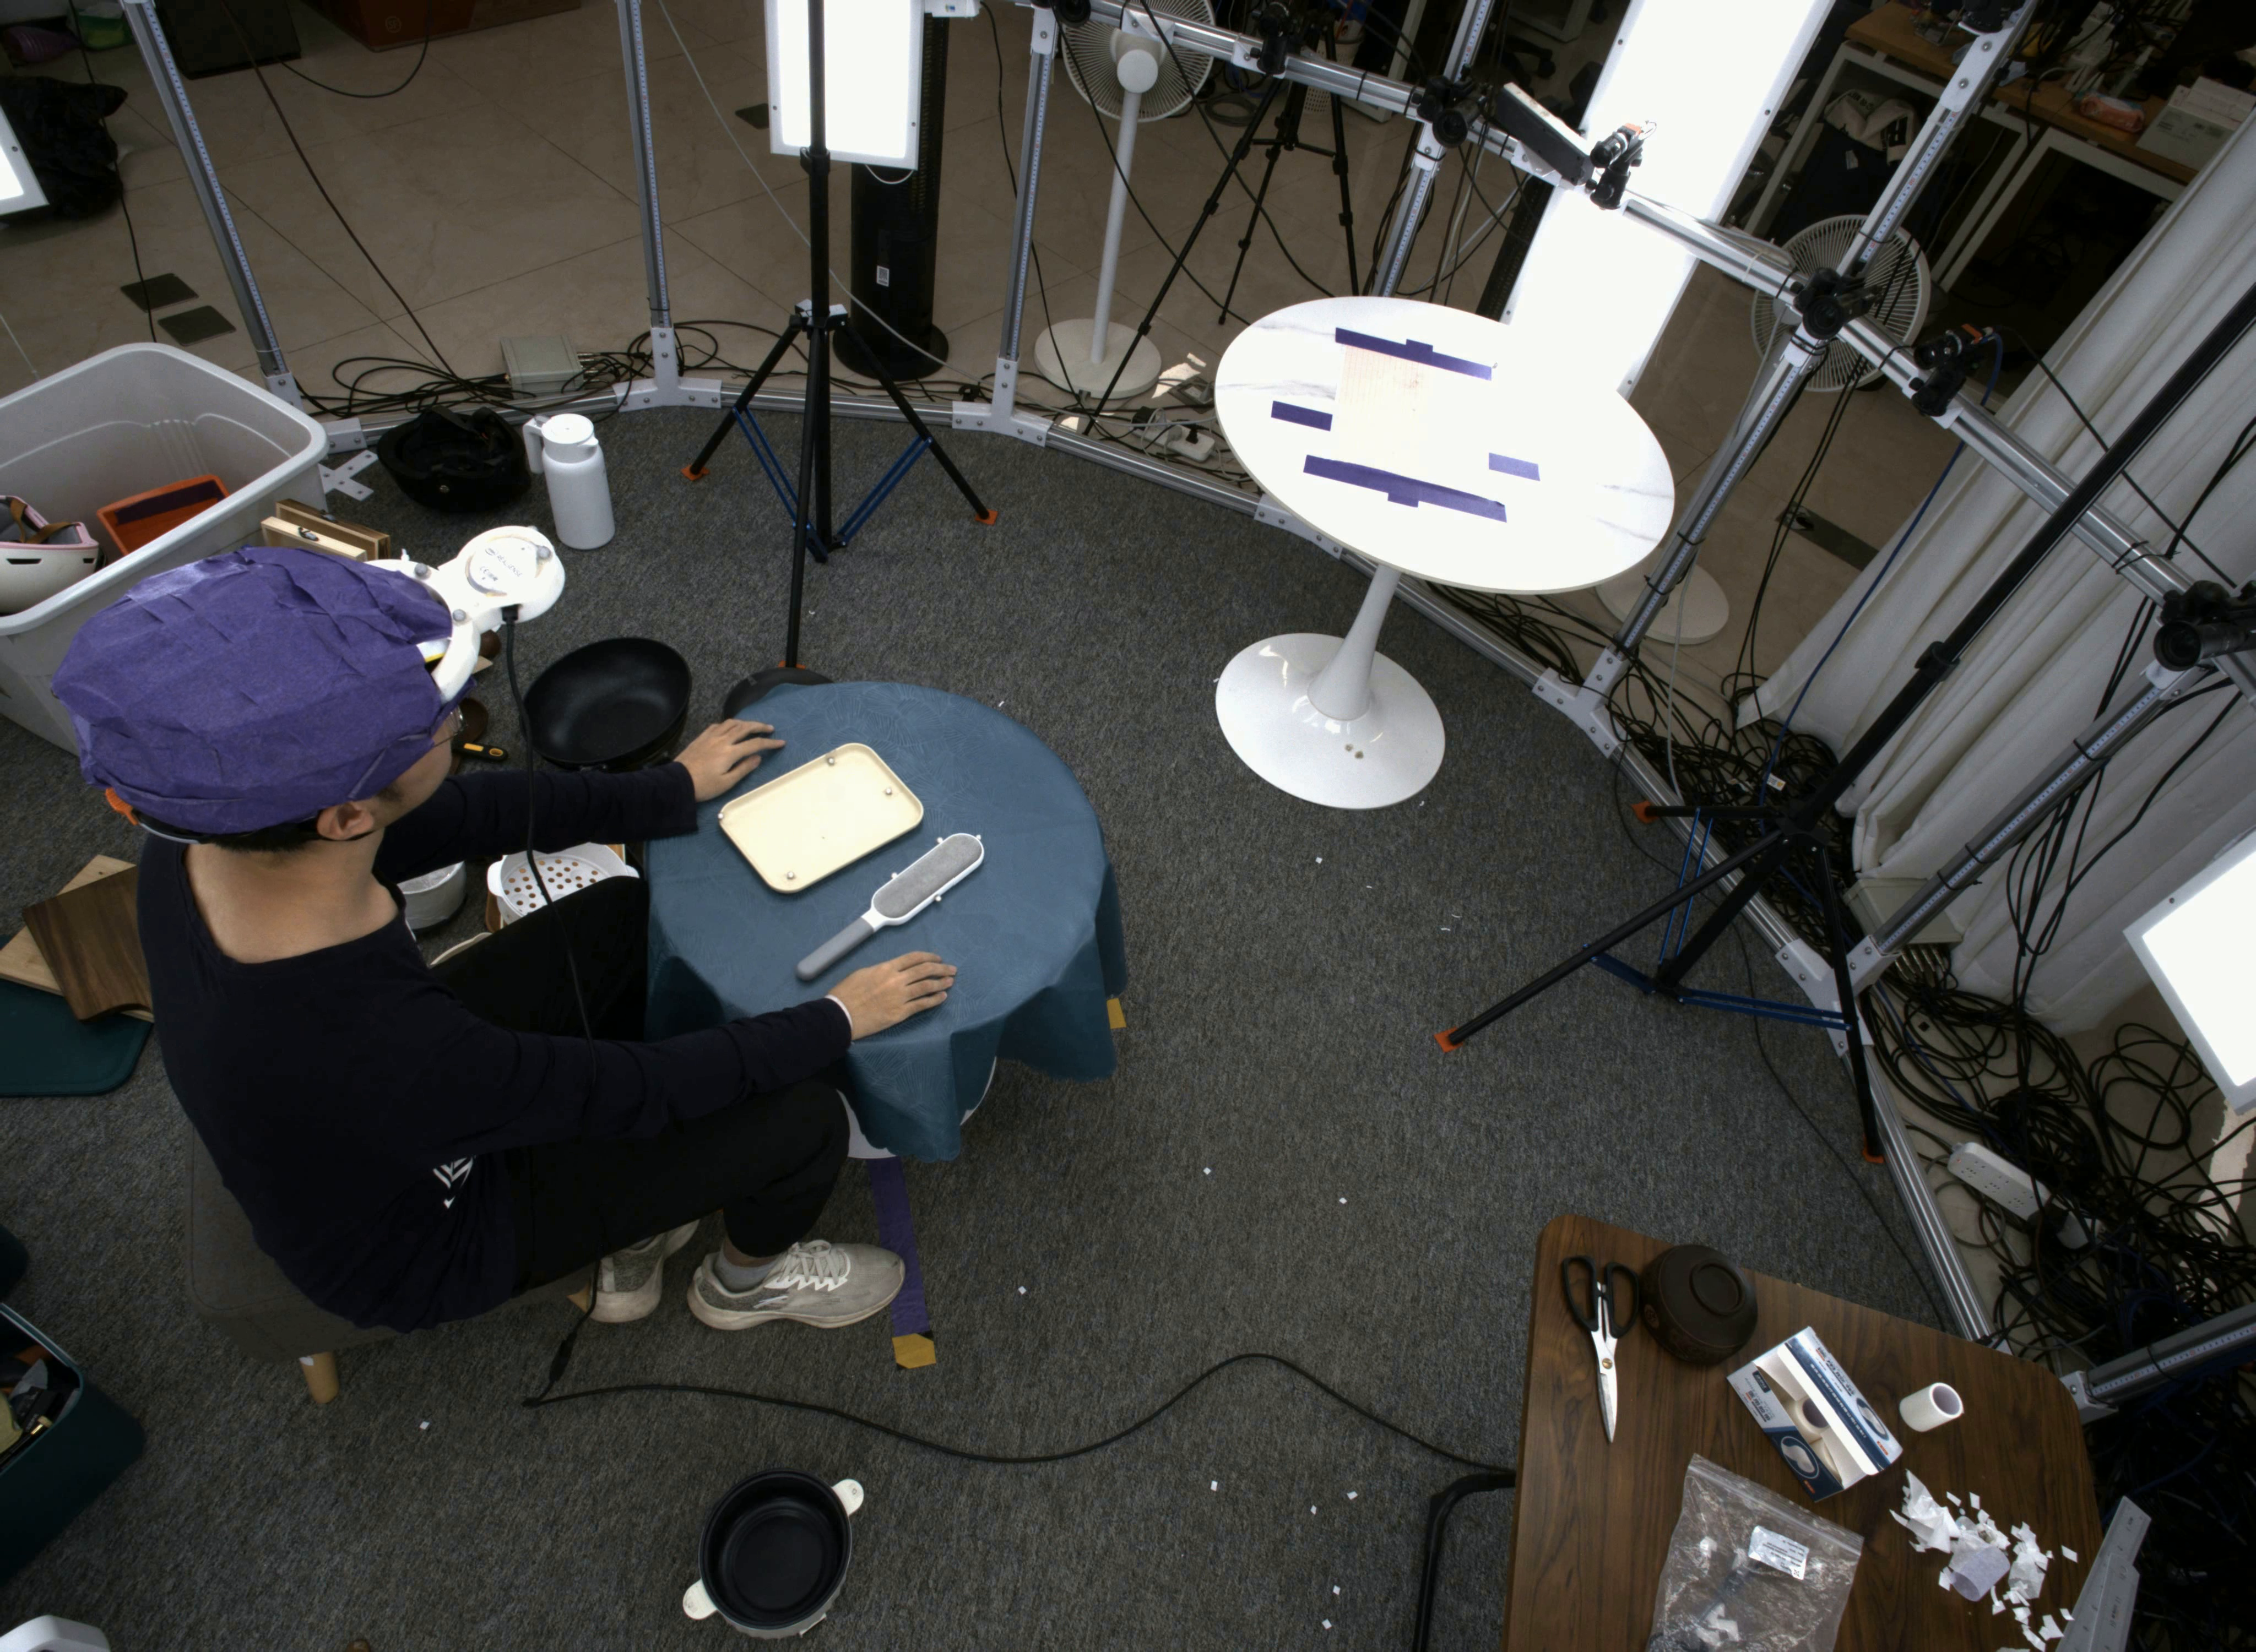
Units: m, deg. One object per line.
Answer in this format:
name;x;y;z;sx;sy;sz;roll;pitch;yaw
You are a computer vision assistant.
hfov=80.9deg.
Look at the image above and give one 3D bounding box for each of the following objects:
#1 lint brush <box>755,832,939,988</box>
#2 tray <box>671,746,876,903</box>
lint brush;-0.357;0.103;1.659;0.059;0.021;0.309;41;55;10
tray;-0.468;-0.005;1.717;0.167;0.018;0.240;43;56;17
